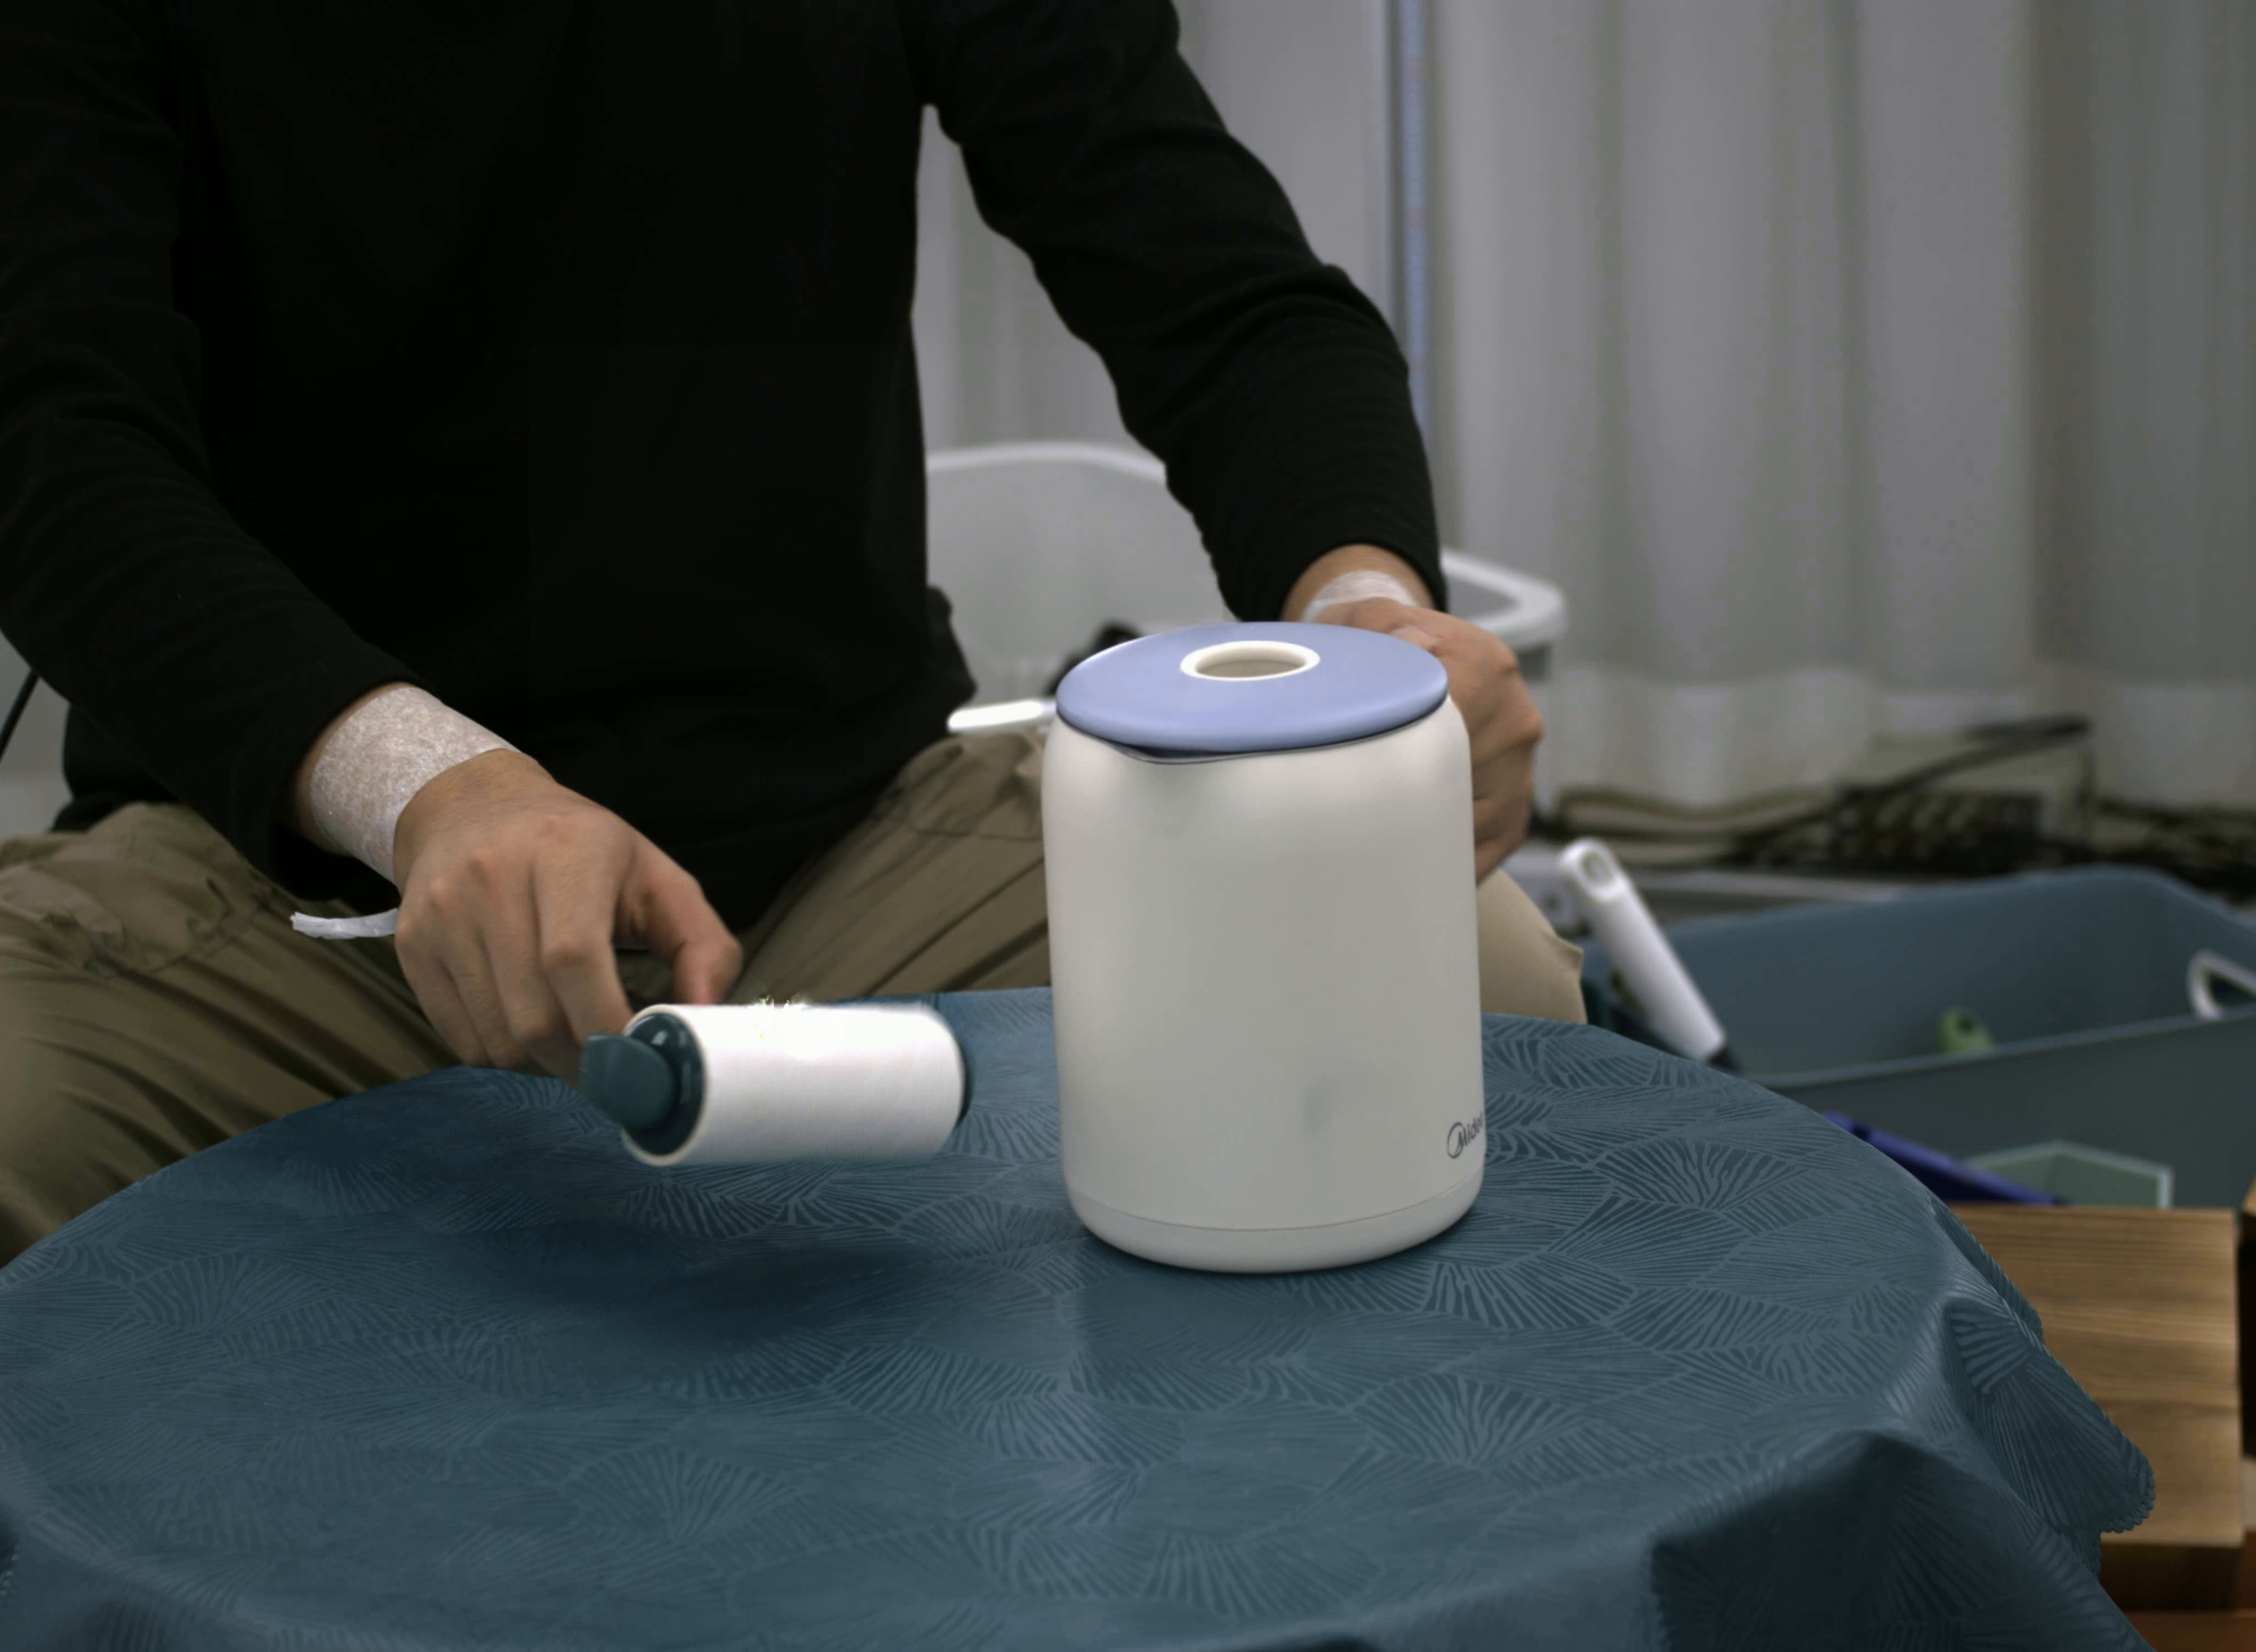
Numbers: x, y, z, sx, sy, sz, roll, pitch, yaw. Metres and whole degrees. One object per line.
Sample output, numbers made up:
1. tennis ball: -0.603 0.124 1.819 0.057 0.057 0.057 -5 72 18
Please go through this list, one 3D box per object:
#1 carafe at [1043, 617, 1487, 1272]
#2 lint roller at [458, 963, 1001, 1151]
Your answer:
1. carafe: 0.052 0.028 1.685 0.132 0.182 0.191 5 16 24
2. lint roller: -0.145 0.060 1.674 0.133 0.048 0.181 -6 11 -44
